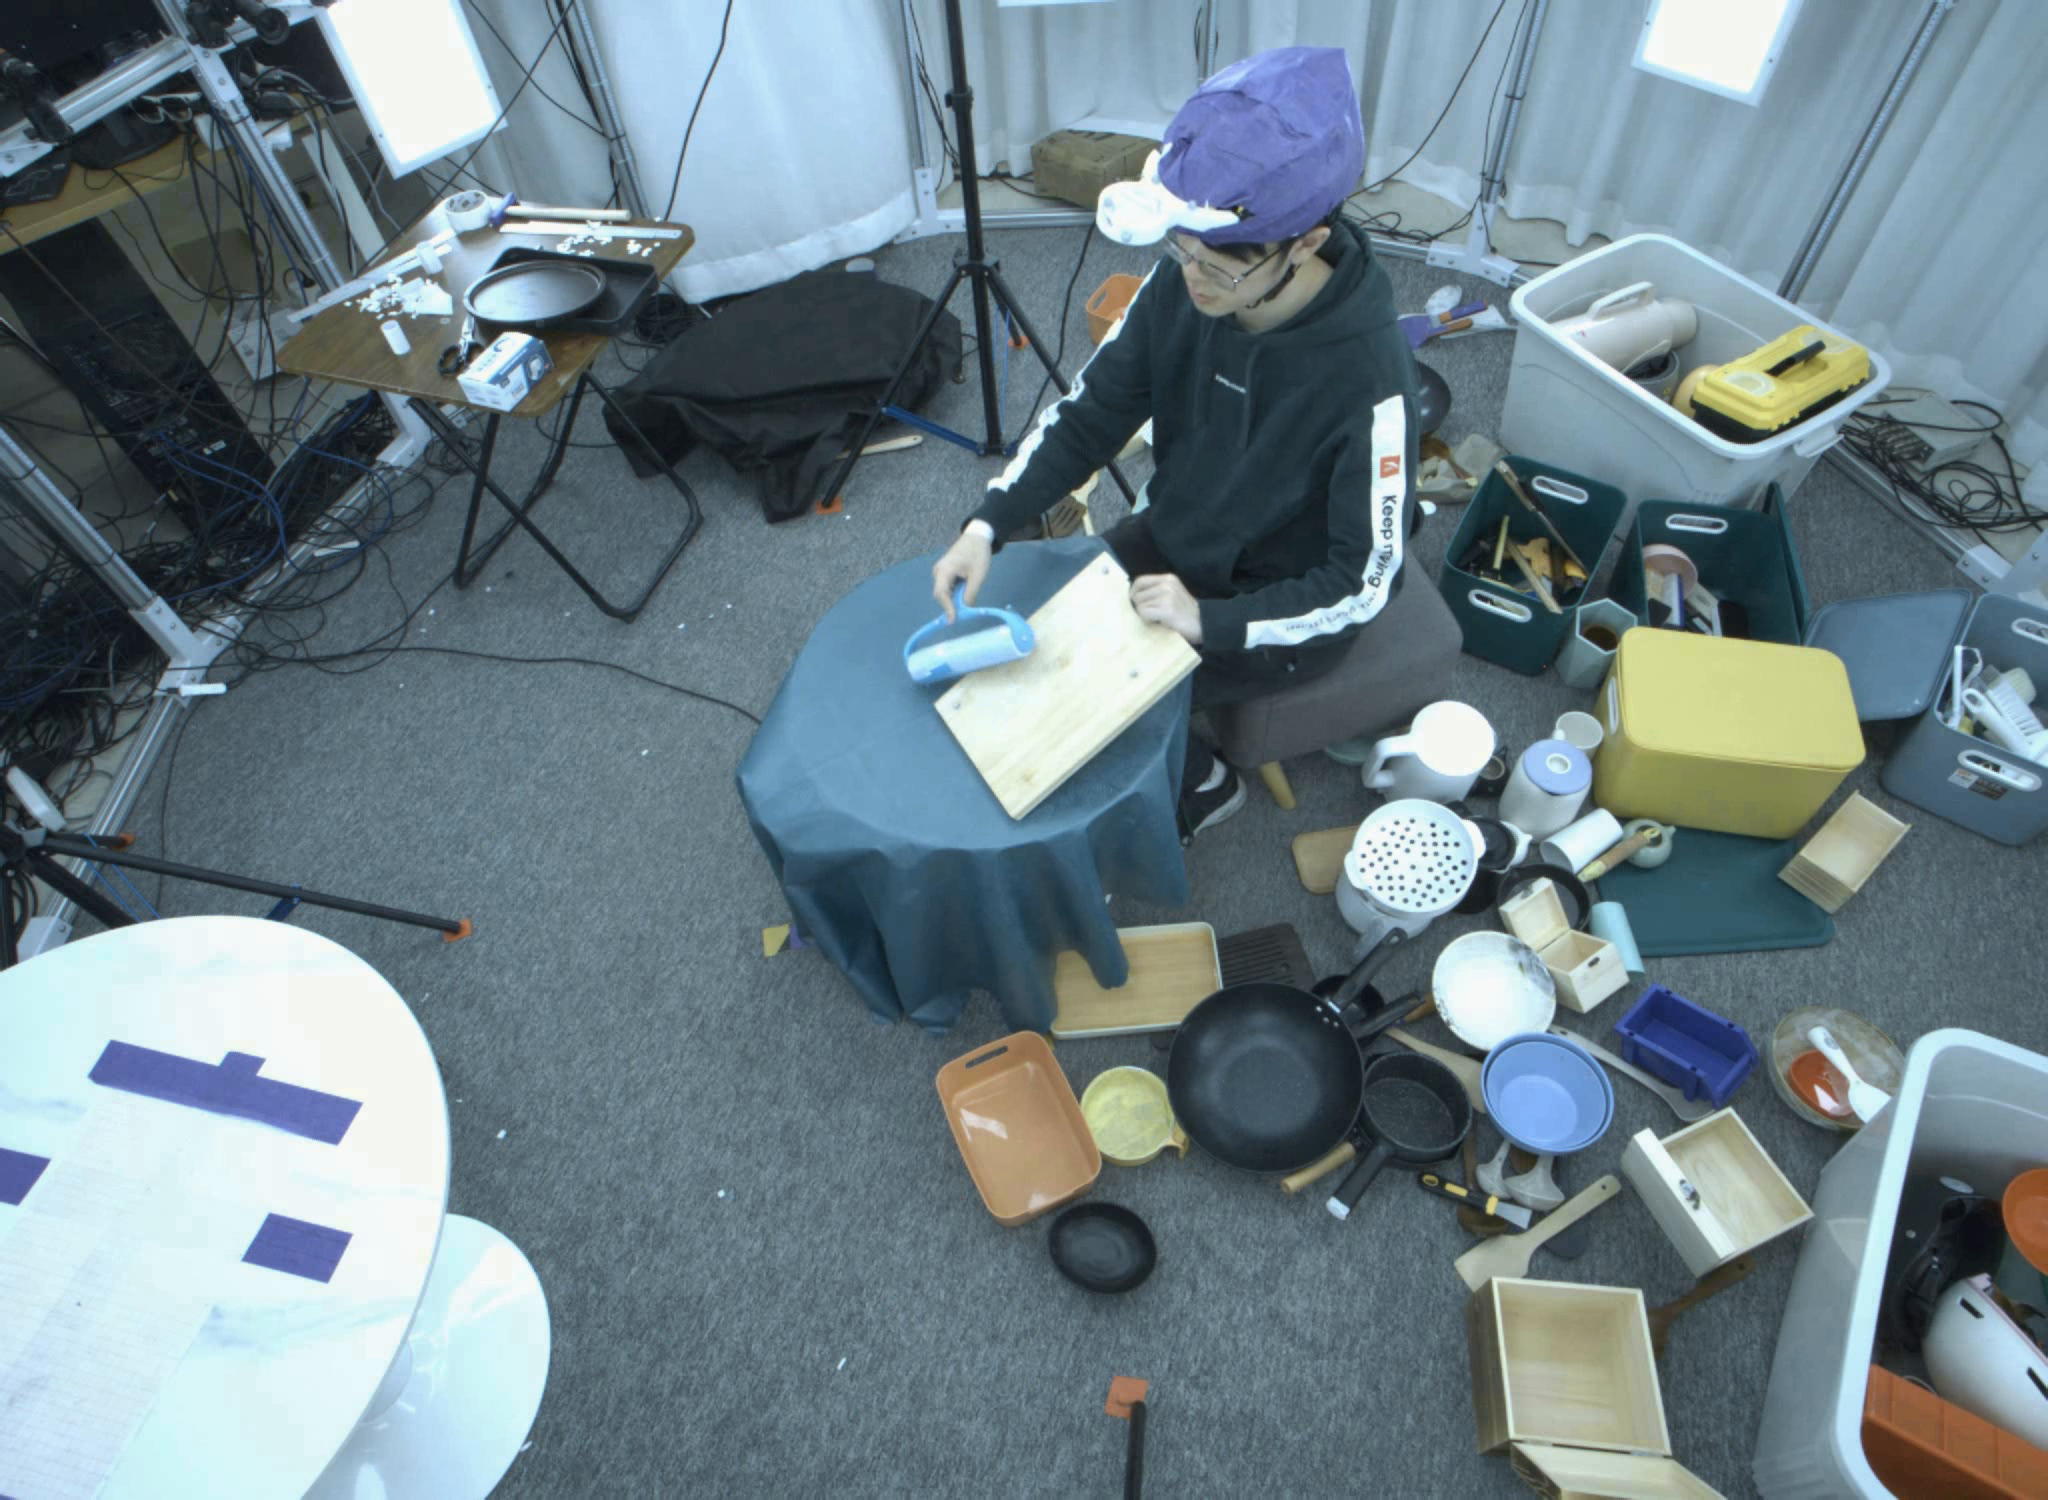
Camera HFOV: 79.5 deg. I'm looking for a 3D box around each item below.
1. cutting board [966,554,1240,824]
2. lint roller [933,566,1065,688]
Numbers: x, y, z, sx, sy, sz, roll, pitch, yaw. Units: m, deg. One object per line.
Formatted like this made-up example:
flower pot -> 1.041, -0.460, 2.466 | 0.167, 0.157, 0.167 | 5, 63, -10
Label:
cutting board -> 0.100, -0.090, 1.737 | 0.348, 0.024, 0.246 | -40, 58, 8
lint roller -> -0.040, -0.193, 1.792 | 0.225, 0.069, 0.179 | -14, 71, 35
